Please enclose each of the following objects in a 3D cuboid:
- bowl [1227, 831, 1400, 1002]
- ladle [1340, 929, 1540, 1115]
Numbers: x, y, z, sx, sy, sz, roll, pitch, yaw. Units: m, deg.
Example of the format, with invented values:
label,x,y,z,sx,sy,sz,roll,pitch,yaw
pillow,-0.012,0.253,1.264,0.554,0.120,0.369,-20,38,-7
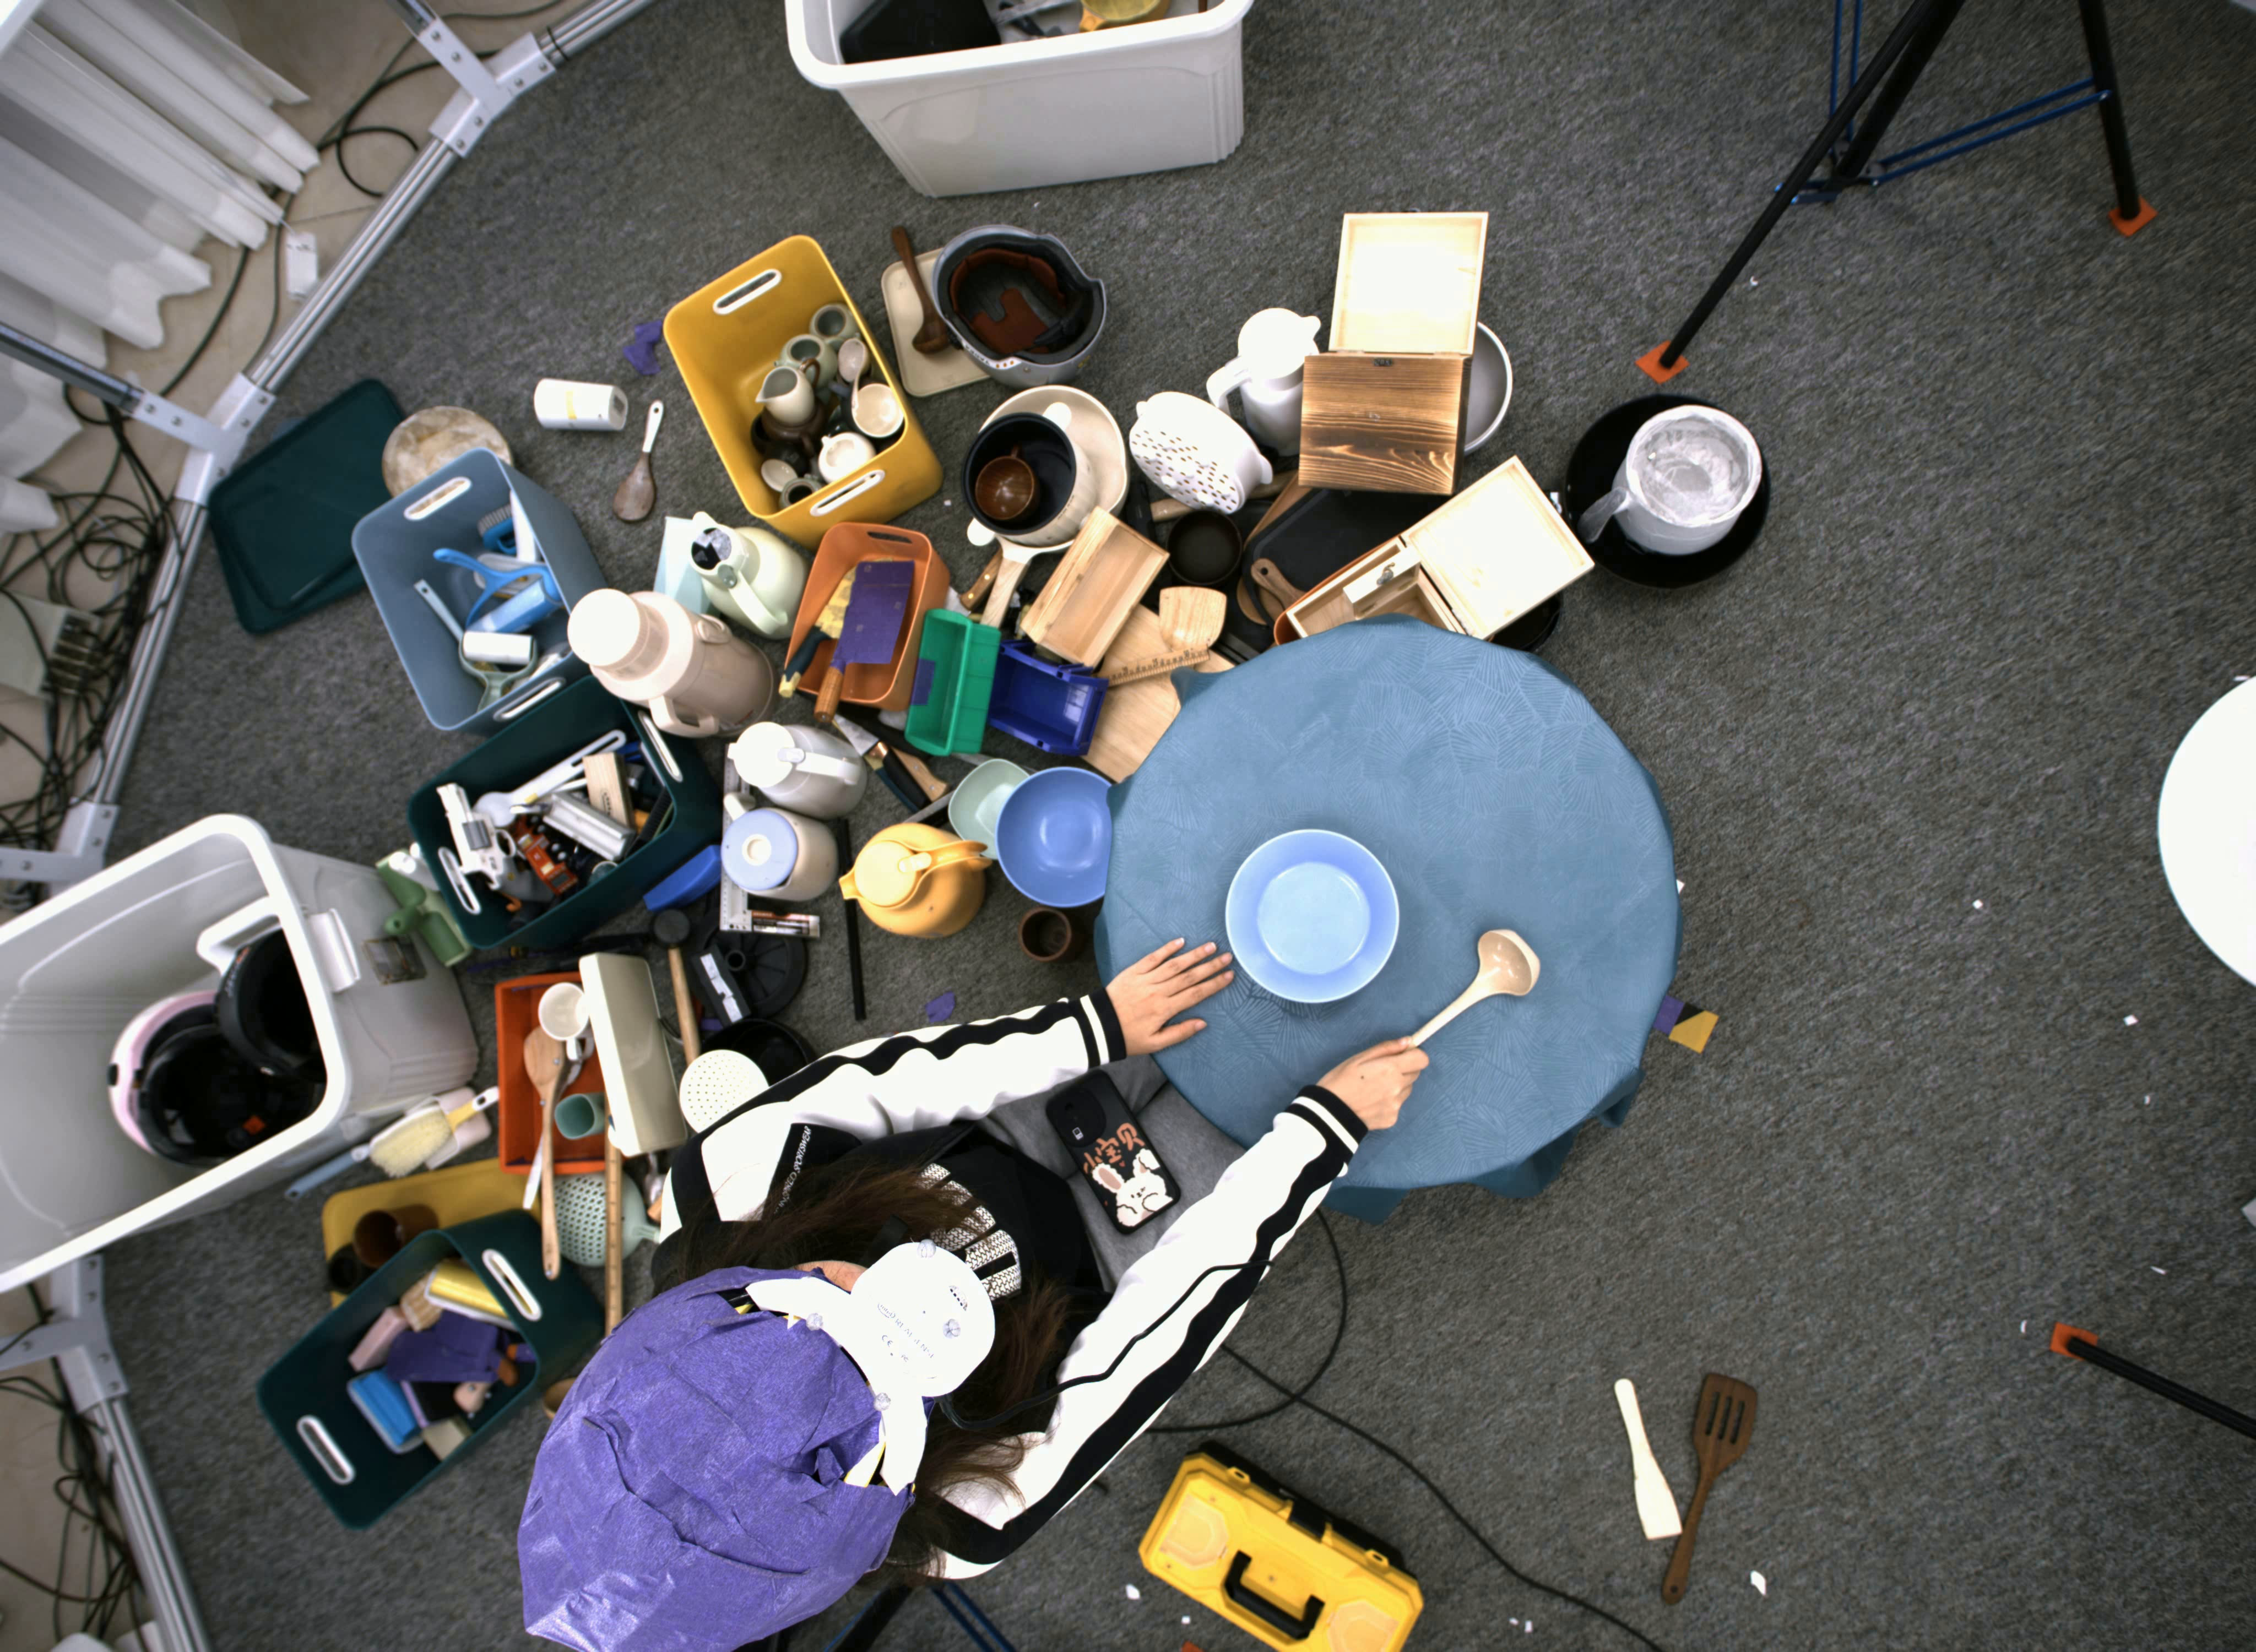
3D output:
label,x,y,z,sx,sy,sz,roll,pitch,yaw
bowl,0.193,0.095,1.438,0.177,0.070,0.175,-1,85,11
ladle,0.310,0.201,1.401,0.255,0.073,0.071,-41,69,1
